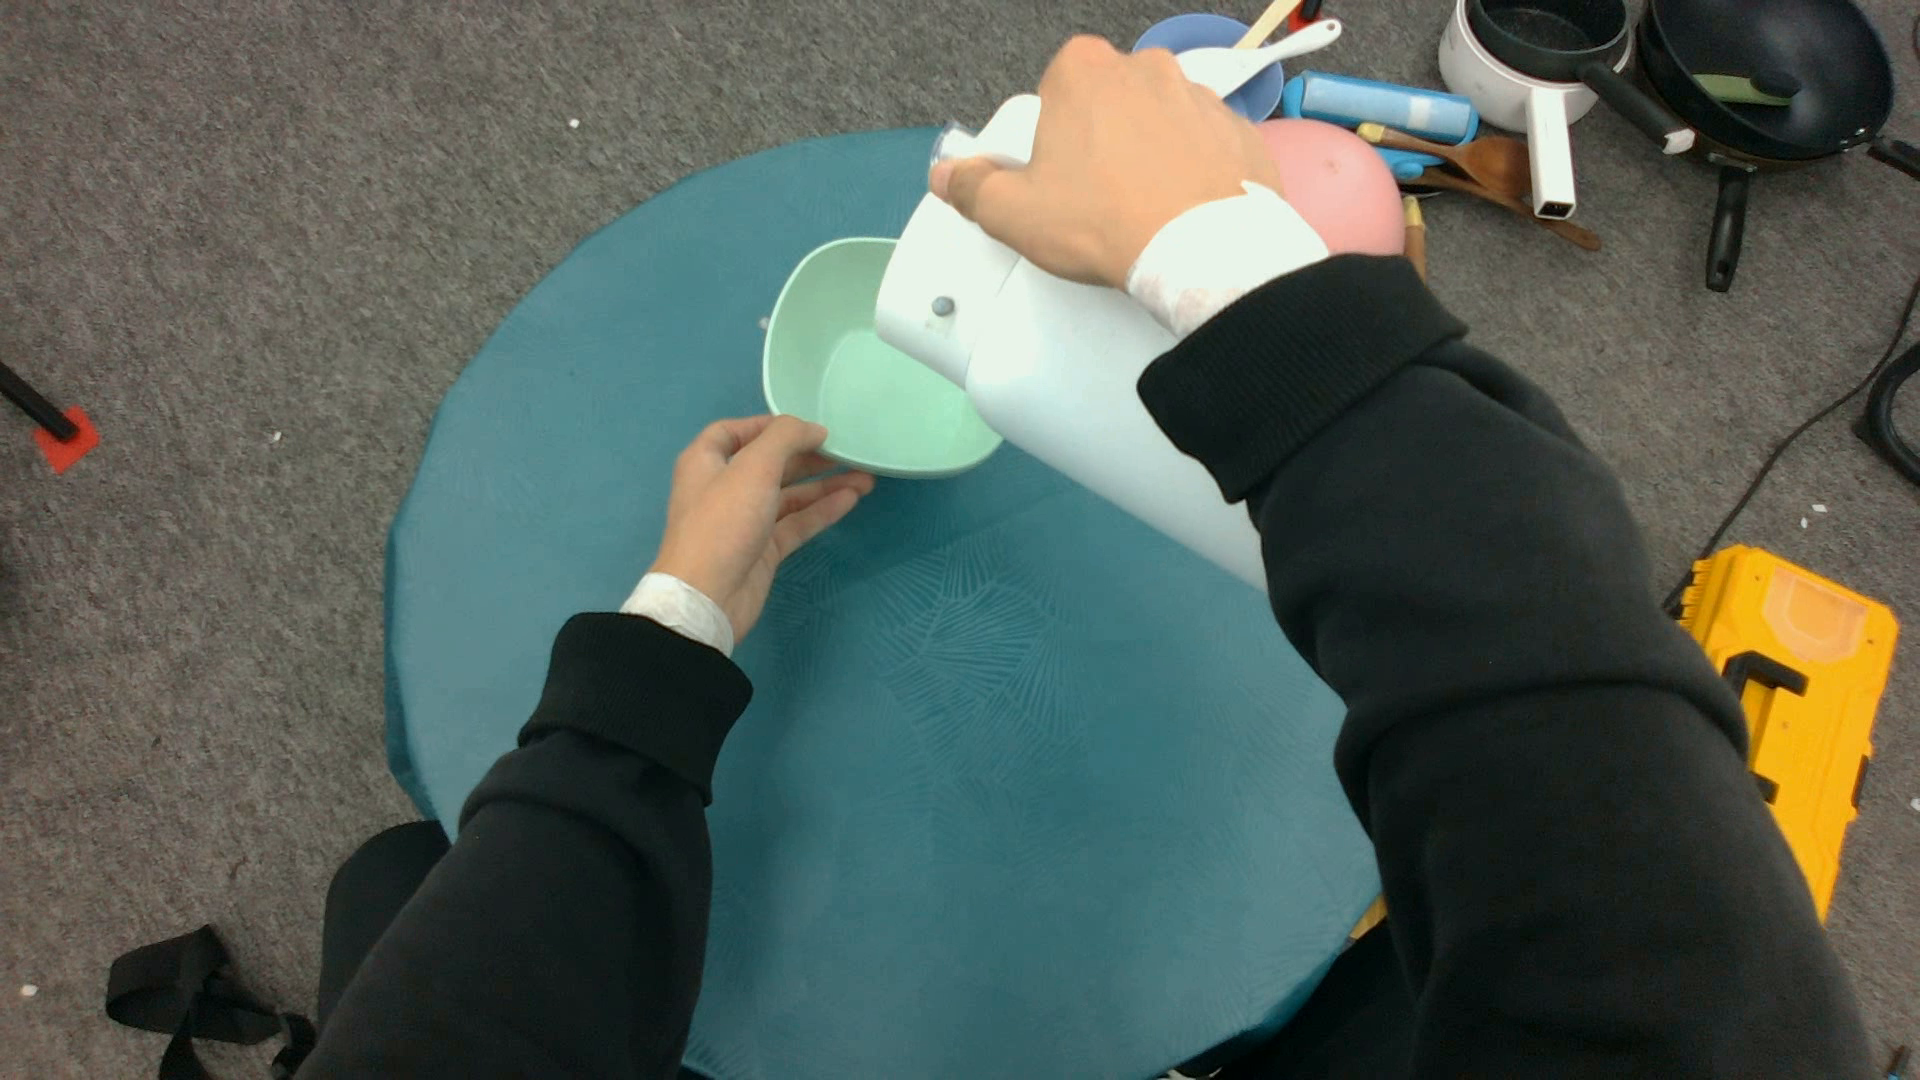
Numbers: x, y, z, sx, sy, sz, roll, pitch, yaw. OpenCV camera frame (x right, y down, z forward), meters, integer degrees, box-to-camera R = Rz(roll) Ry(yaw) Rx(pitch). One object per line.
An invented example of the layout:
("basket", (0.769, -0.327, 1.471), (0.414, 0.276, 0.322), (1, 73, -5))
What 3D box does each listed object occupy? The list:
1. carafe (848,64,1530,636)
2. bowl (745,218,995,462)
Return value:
("carafe", (0.092, -0.082, 0.563), (0.269, 0.172, 0.124), (33, 67, 8))
("bowl", (-0.046, -0.100, 0.752), (0.151, 0.058, 0.152), (2, 71, -7))
